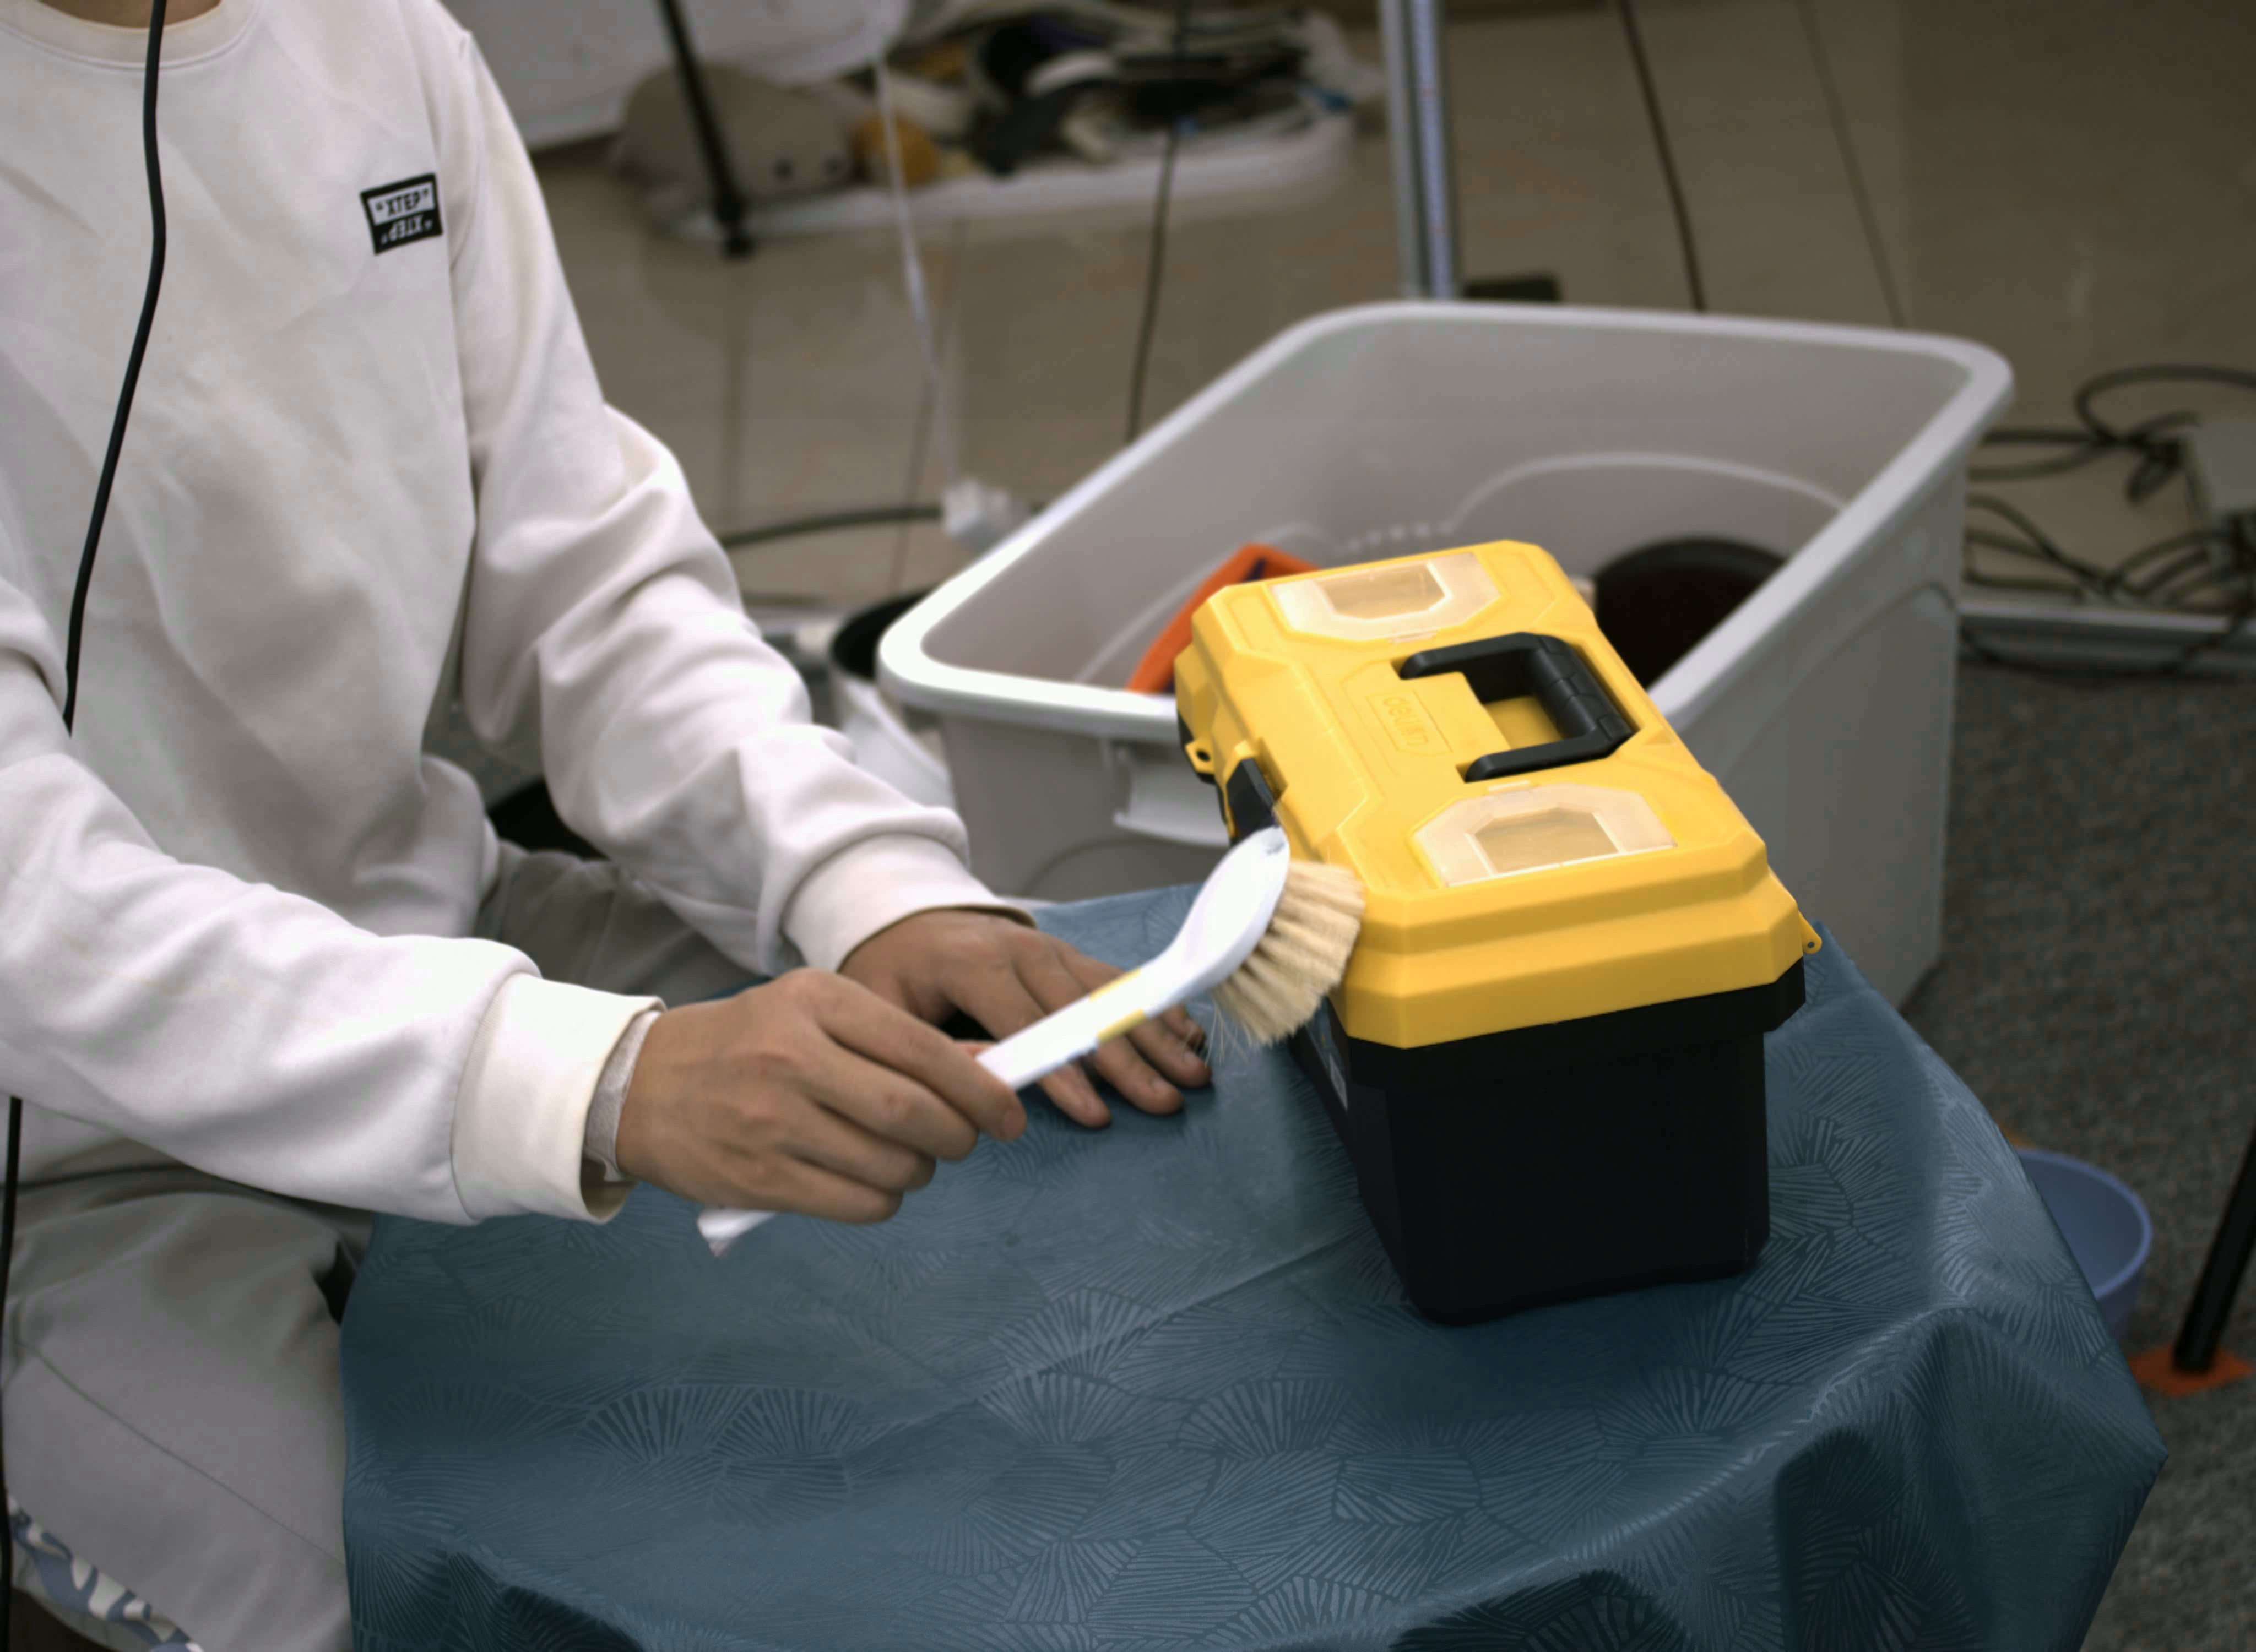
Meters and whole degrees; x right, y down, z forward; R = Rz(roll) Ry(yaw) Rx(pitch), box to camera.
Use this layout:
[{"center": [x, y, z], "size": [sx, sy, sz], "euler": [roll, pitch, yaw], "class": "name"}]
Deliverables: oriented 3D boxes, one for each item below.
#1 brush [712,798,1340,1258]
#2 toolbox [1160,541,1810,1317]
[{"center": [-0.031, 0.088, 1.998], "size": [0.268, 0.056, 0.068], "euler": [-39, 10, 15], "class": "brush"}, {"center": [0.130, 0.033, 2.134], "size": [0.181, 0.175, 0.346], "euler": [-9, 24, -7], "class": "toolbox"}]
